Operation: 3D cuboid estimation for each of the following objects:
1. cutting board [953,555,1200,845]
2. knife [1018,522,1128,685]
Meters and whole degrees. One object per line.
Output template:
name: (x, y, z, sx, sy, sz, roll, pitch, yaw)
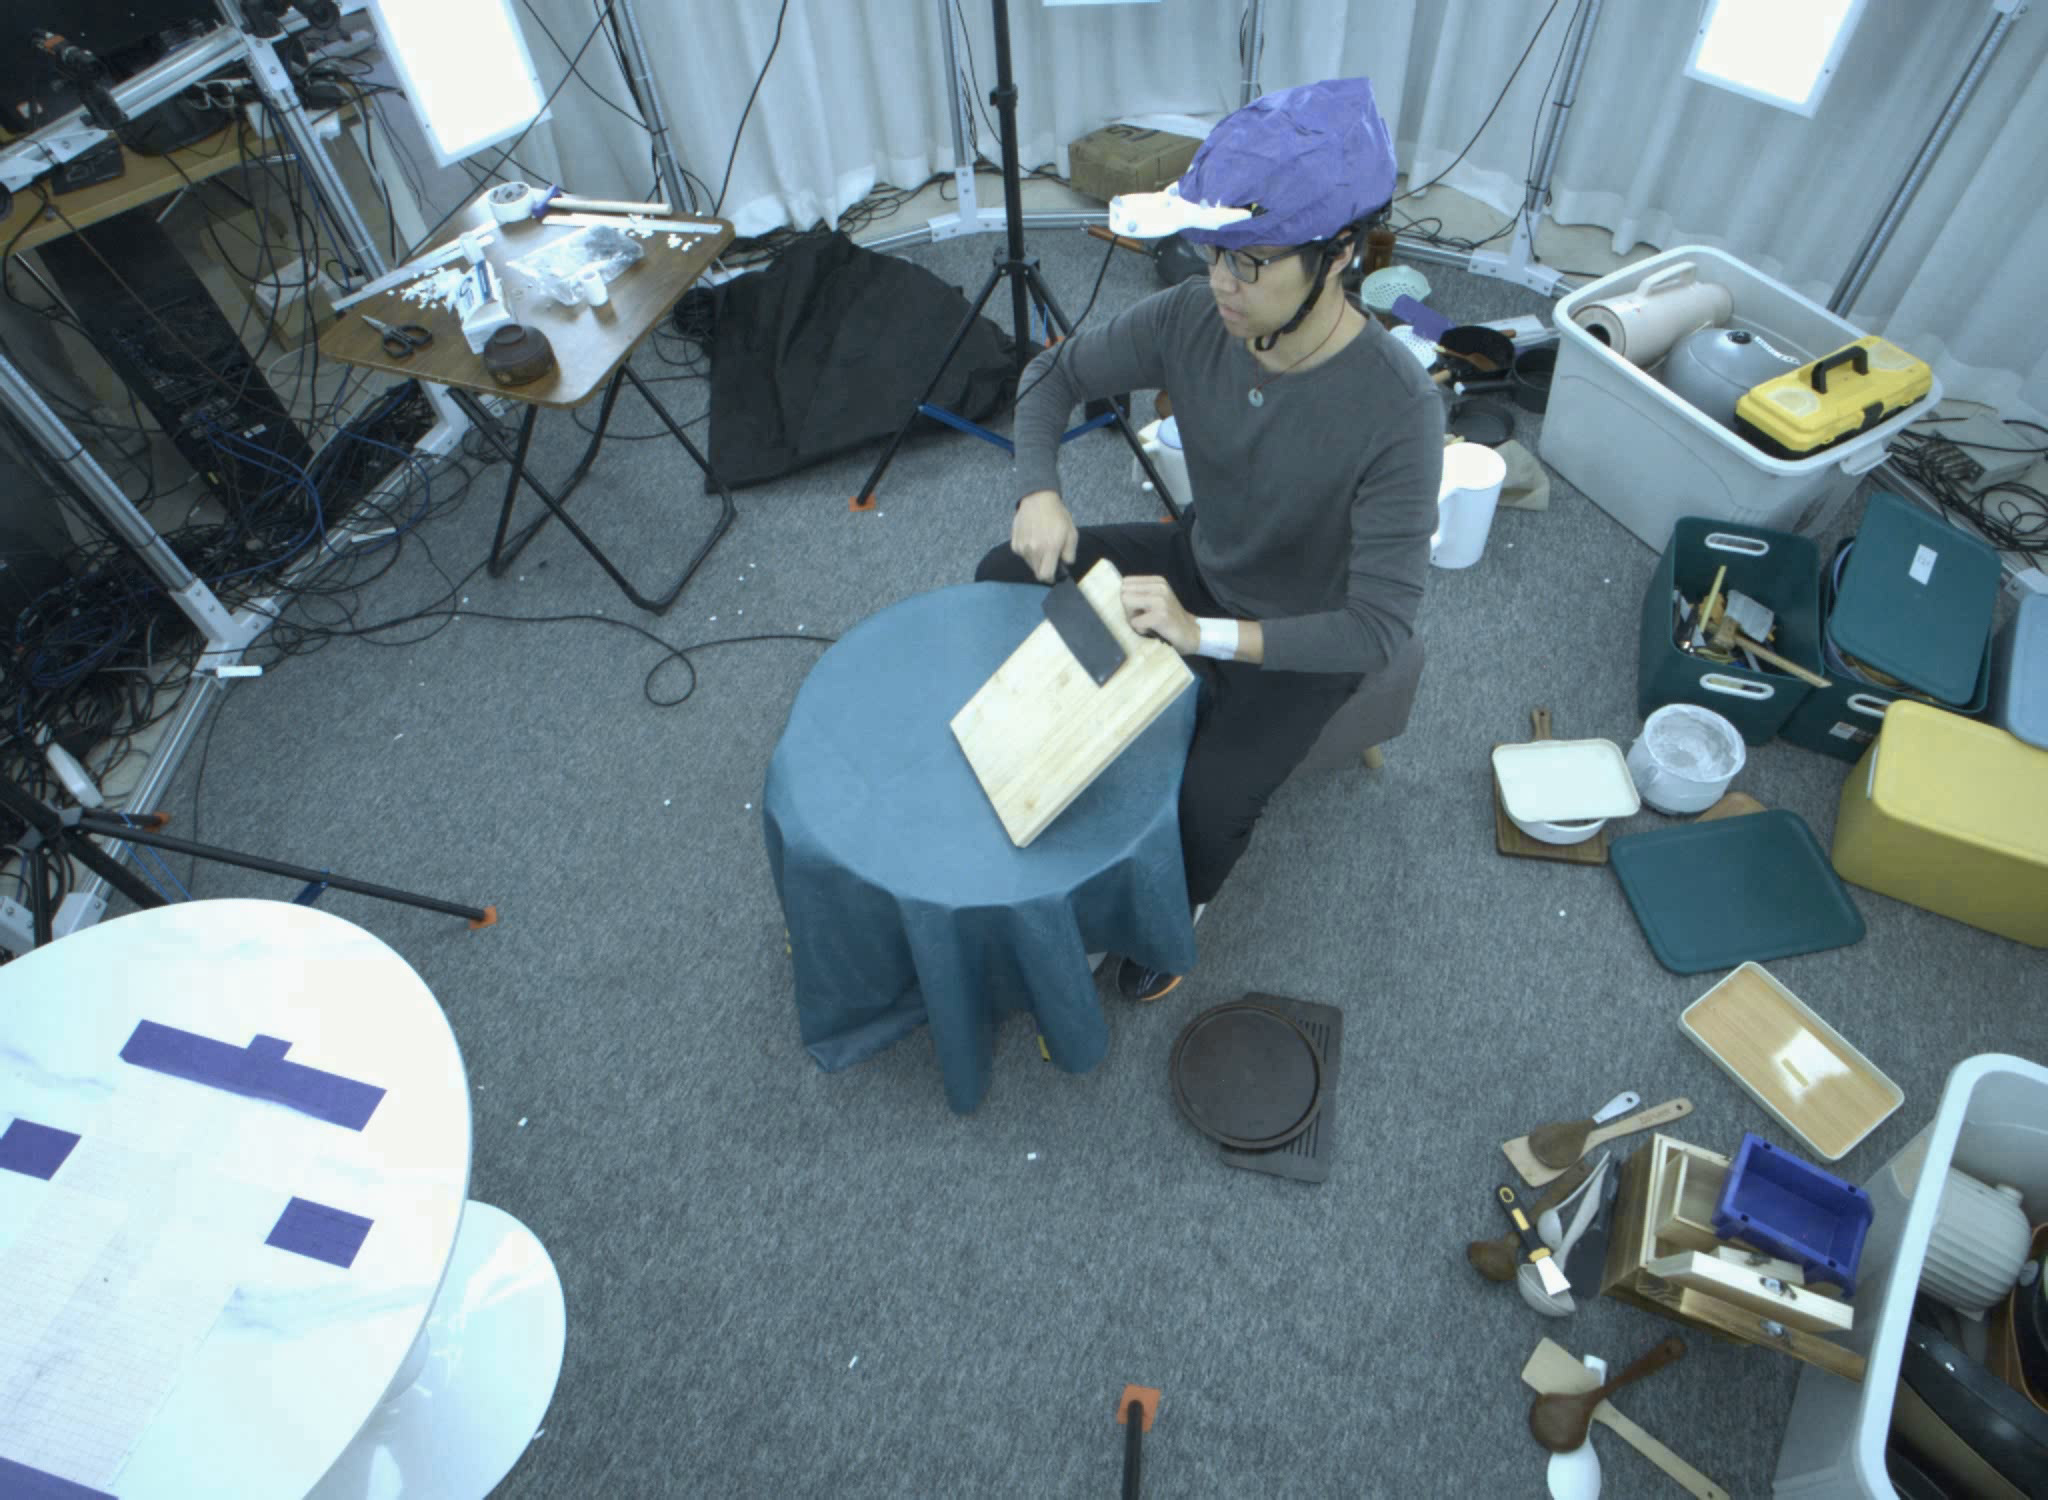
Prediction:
cutting board: (0.058, -0.069, 1.693, 0.347, 0.024, 0.246, -46, 55, 21)
knife: (0.058, -0.213, 1.711, 0.021, 0.080, 0.297, 10, 44, -45)
